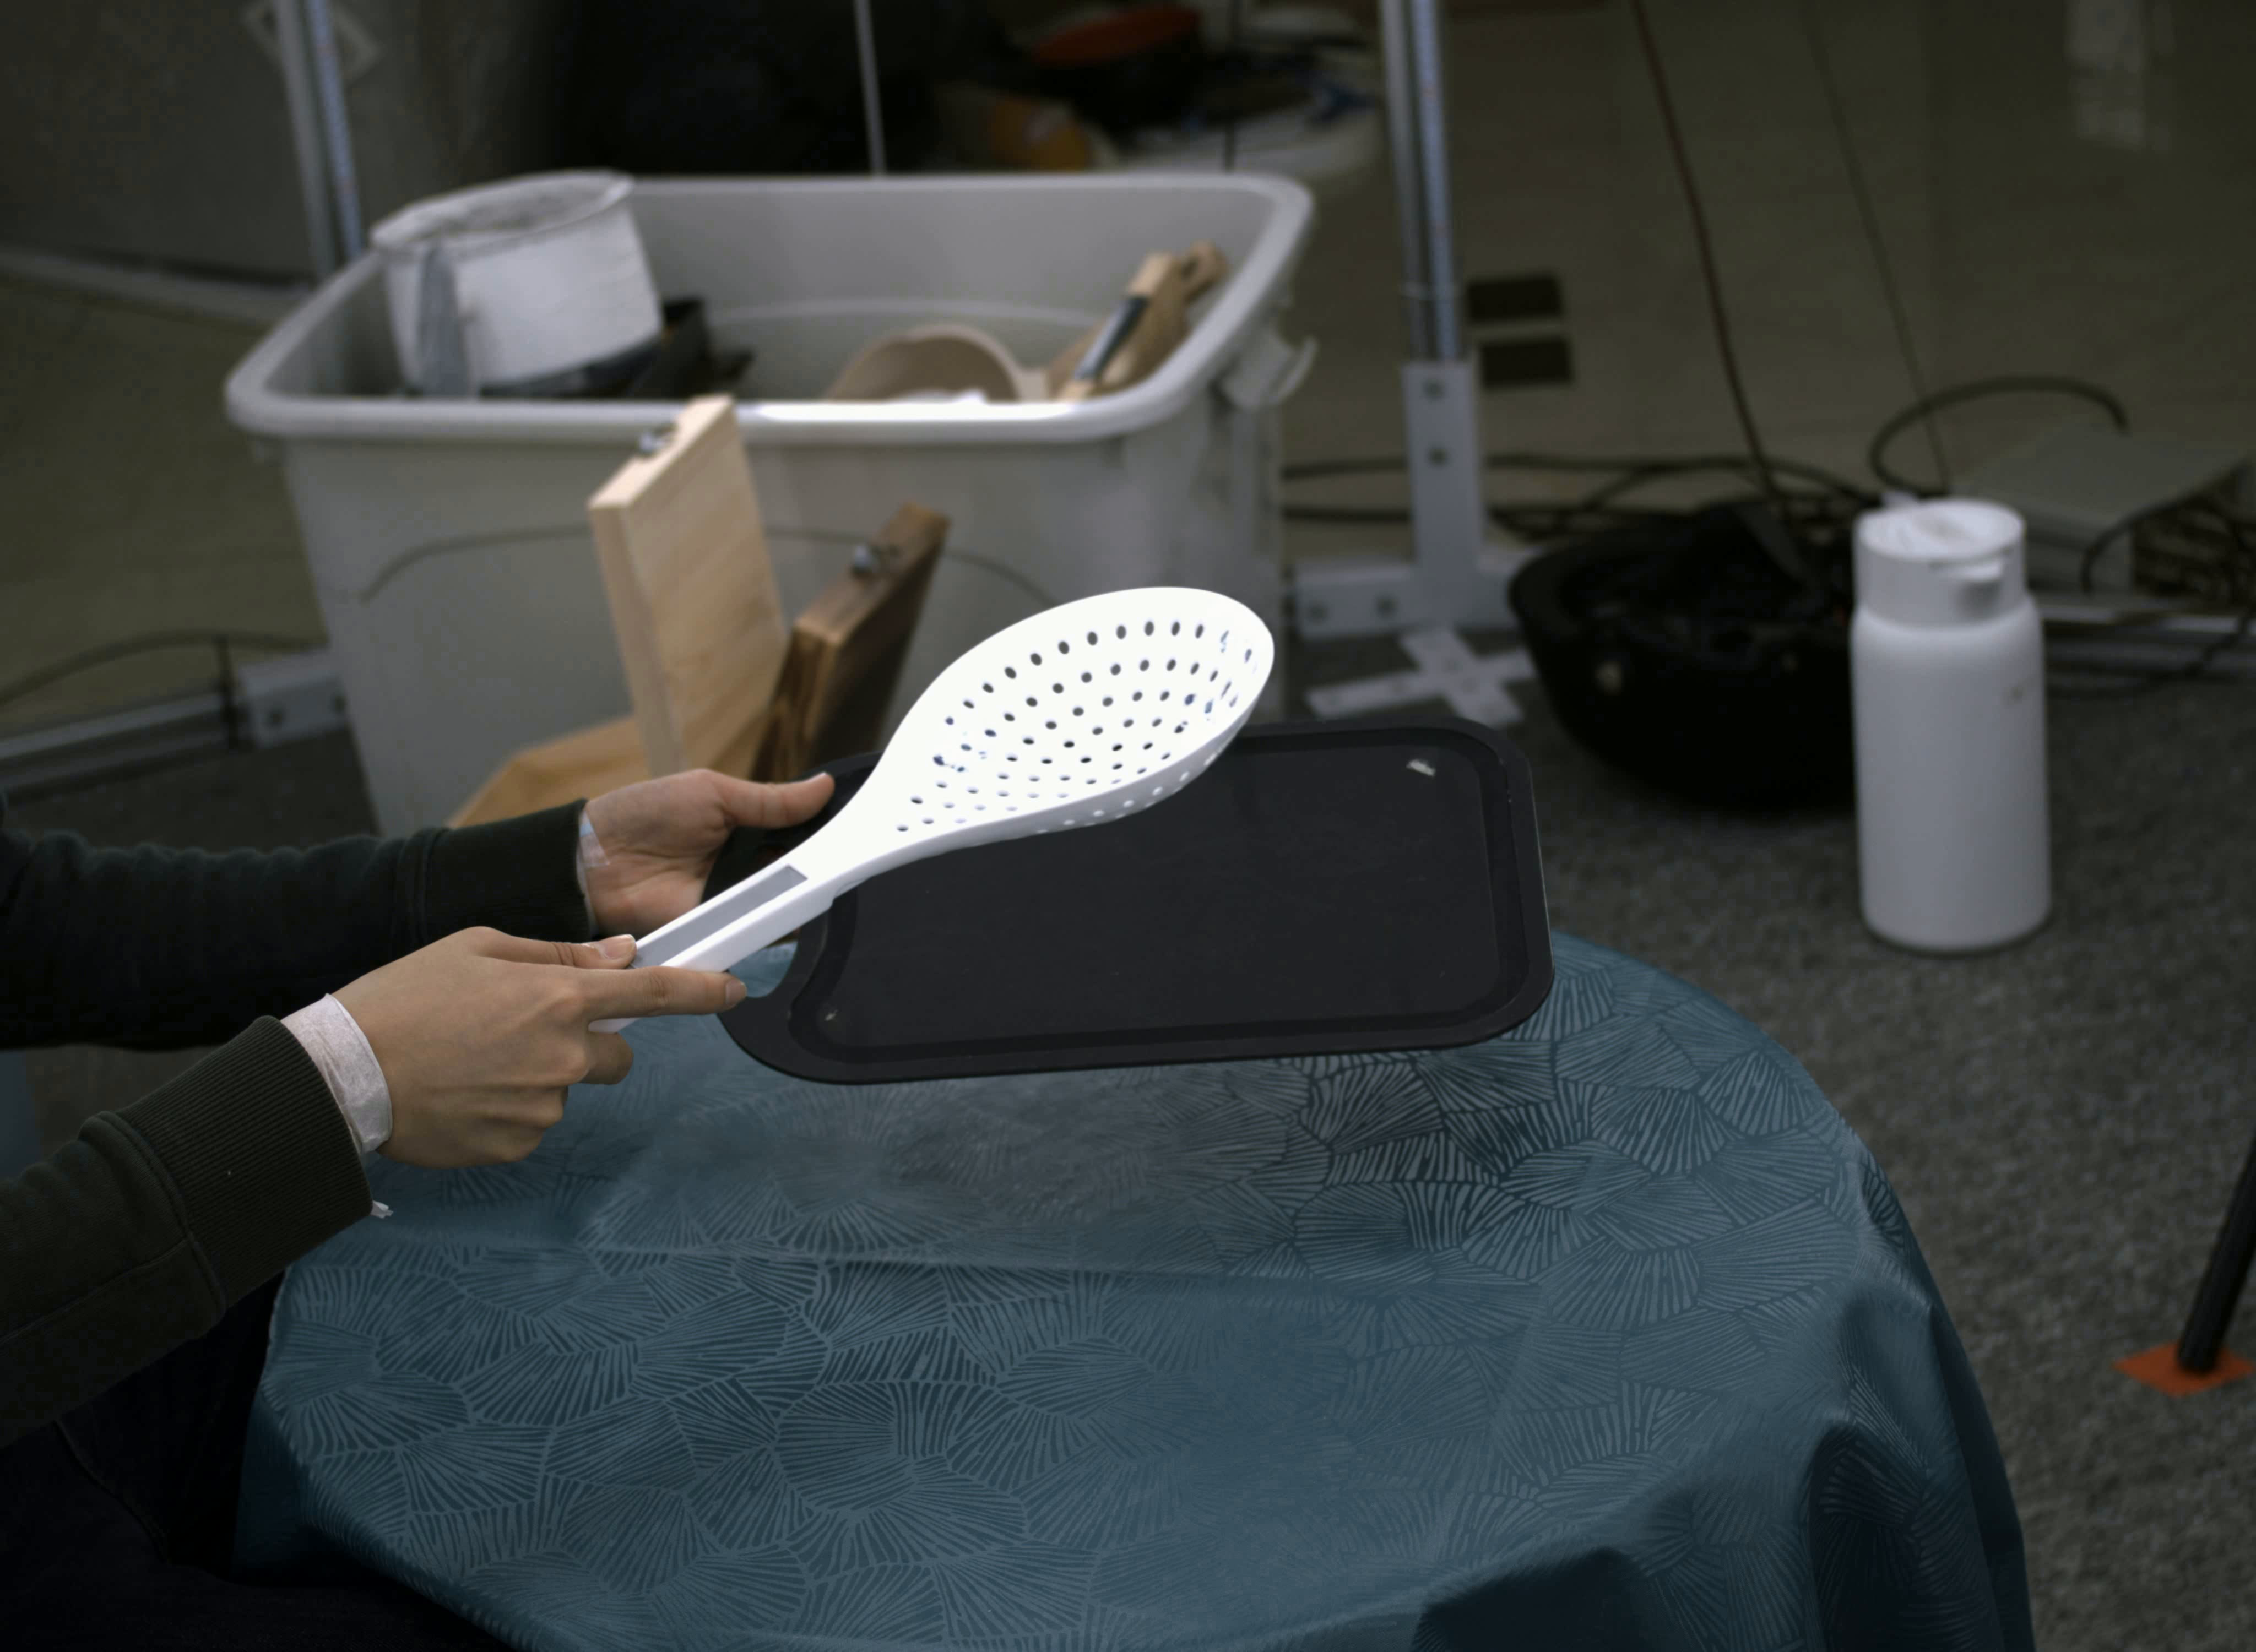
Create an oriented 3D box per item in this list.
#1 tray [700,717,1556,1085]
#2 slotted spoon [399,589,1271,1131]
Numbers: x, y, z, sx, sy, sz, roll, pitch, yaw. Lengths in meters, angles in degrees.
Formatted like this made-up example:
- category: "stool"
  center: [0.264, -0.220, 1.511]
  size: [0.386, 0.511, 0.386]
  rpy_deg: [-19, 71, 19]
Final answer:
- category: "tray"
  center: [-0.002, 0.026, 2.163]
  size: [0.325, 0.010, 0.207]
  rpy_deg: [-3, 37, 2]
- category: "slotted spoon"
  center: [-0.100, 0.012, 1.970]
  size: [0.347, 0.046, 0.134]
  rpy_deg: [-27, 30, -21]
